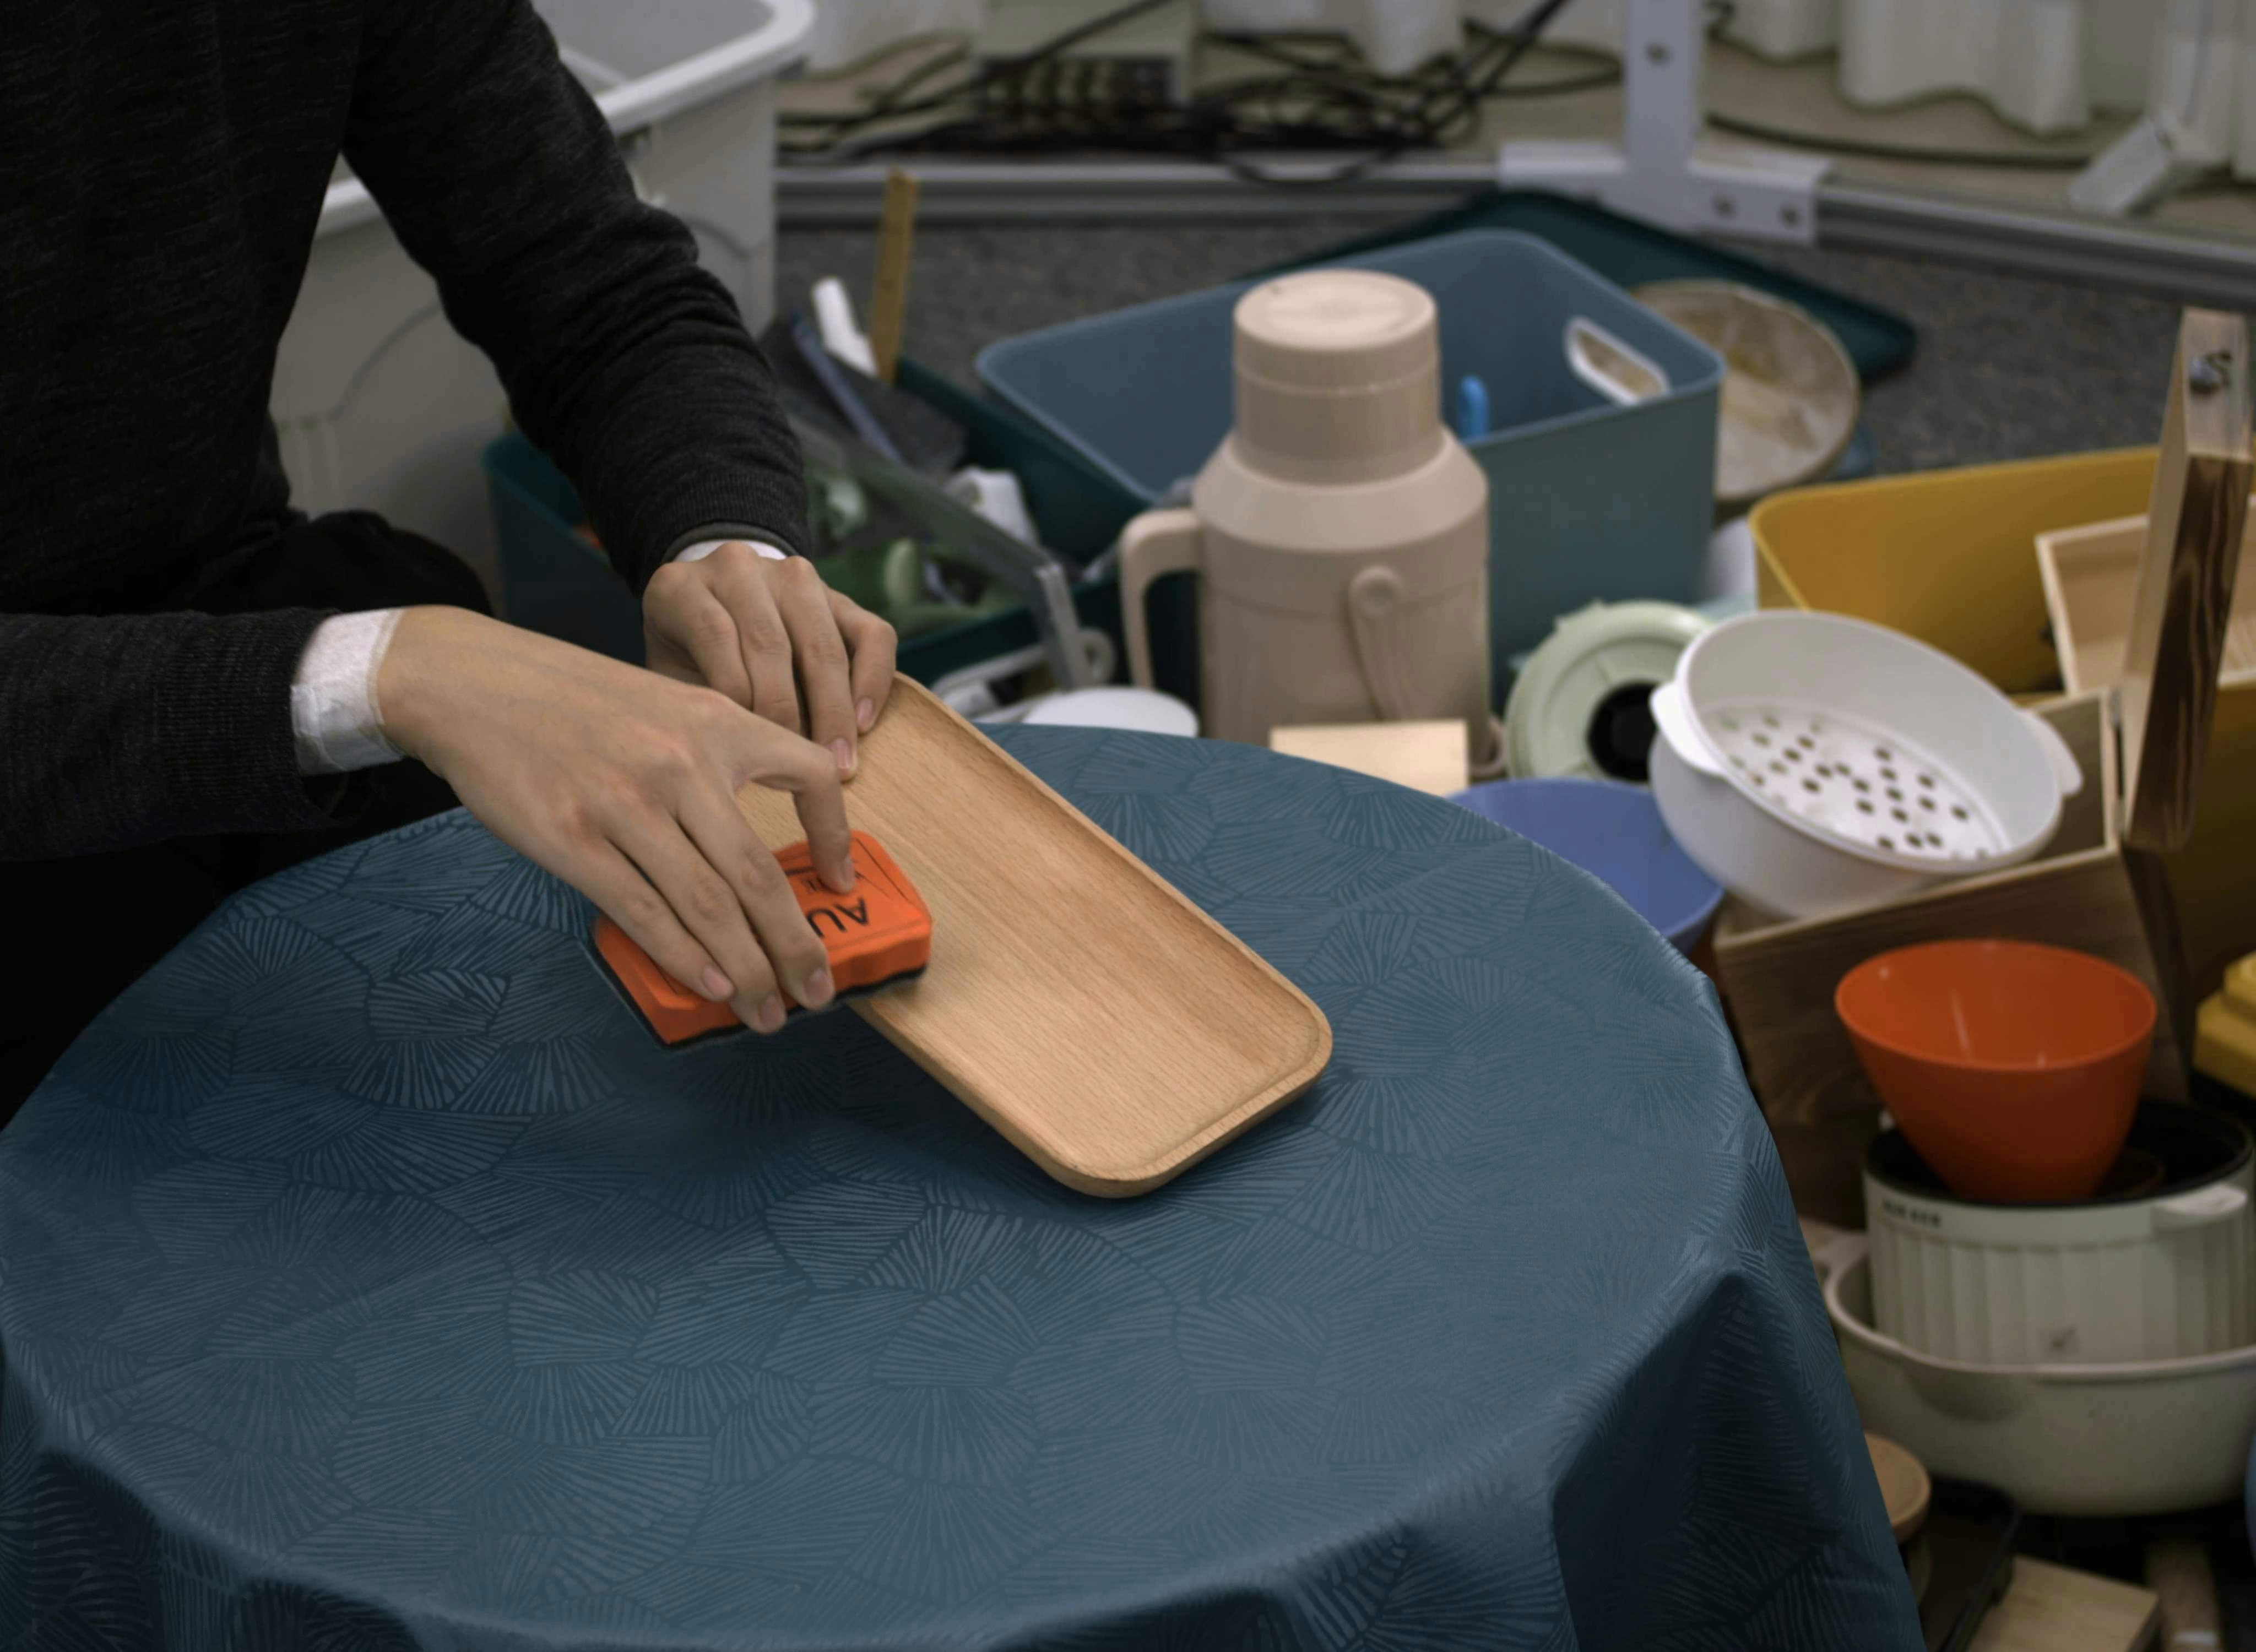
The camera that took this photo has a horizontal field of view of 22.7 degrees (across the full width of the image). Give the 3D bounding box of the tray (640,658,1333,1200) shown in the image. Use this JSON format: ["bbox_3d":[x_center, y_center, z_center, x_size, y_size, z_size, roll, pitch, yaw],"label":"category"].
[{"bbox_3d":[-0.051,0.033,1.933,0.132,0.022,0.251,-27,54,-38],"label":"tray"}]

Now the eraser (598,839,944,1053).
[{"bbox_3d":[-0.119,0.040,1.882,0.109,0.022,0.059,-15,44,-29],"label":"eraser"}]
